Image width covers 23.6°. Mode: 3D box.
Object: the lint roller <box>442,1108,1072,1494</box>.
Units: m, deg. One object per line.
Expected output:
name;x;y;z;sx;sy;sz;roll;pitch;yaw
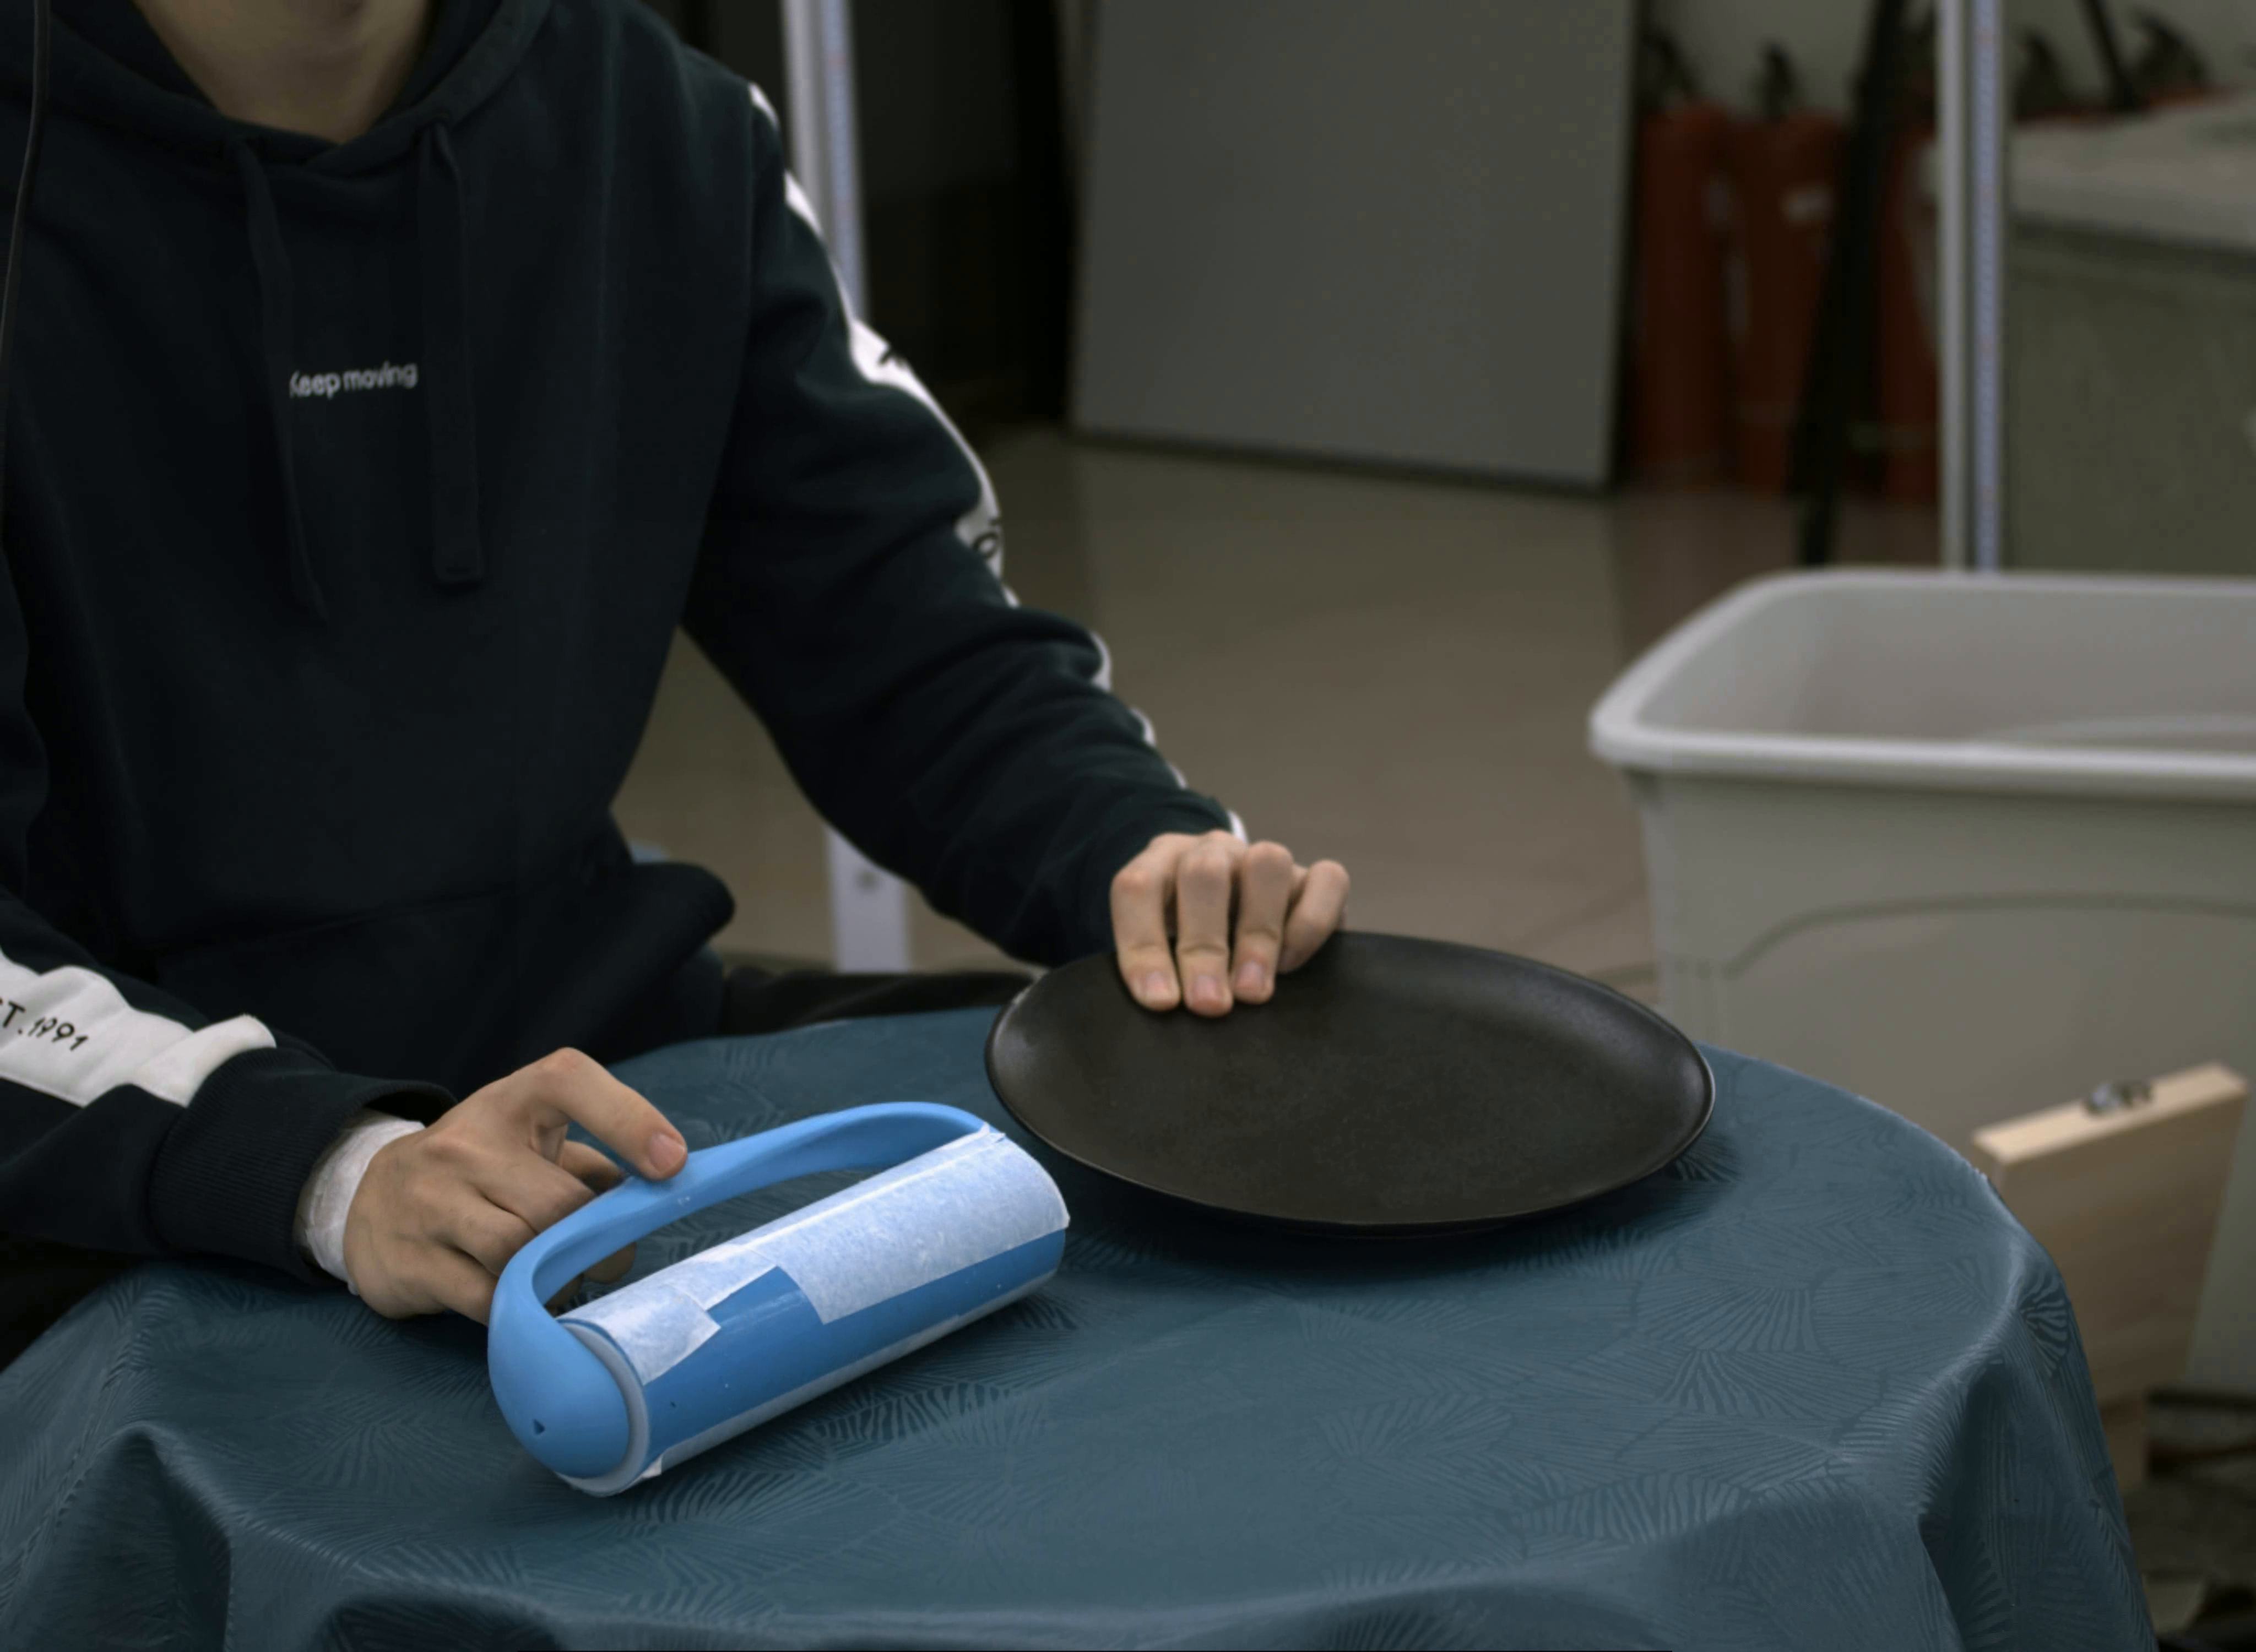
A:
lint roller;-0.142;0.137;1.632;0.181;0.068;0.225;4;17;35

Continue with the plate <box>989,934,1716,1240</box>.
plate;0.074;0.089;1.778;0.241;0.024;0.245;1;20;-1
